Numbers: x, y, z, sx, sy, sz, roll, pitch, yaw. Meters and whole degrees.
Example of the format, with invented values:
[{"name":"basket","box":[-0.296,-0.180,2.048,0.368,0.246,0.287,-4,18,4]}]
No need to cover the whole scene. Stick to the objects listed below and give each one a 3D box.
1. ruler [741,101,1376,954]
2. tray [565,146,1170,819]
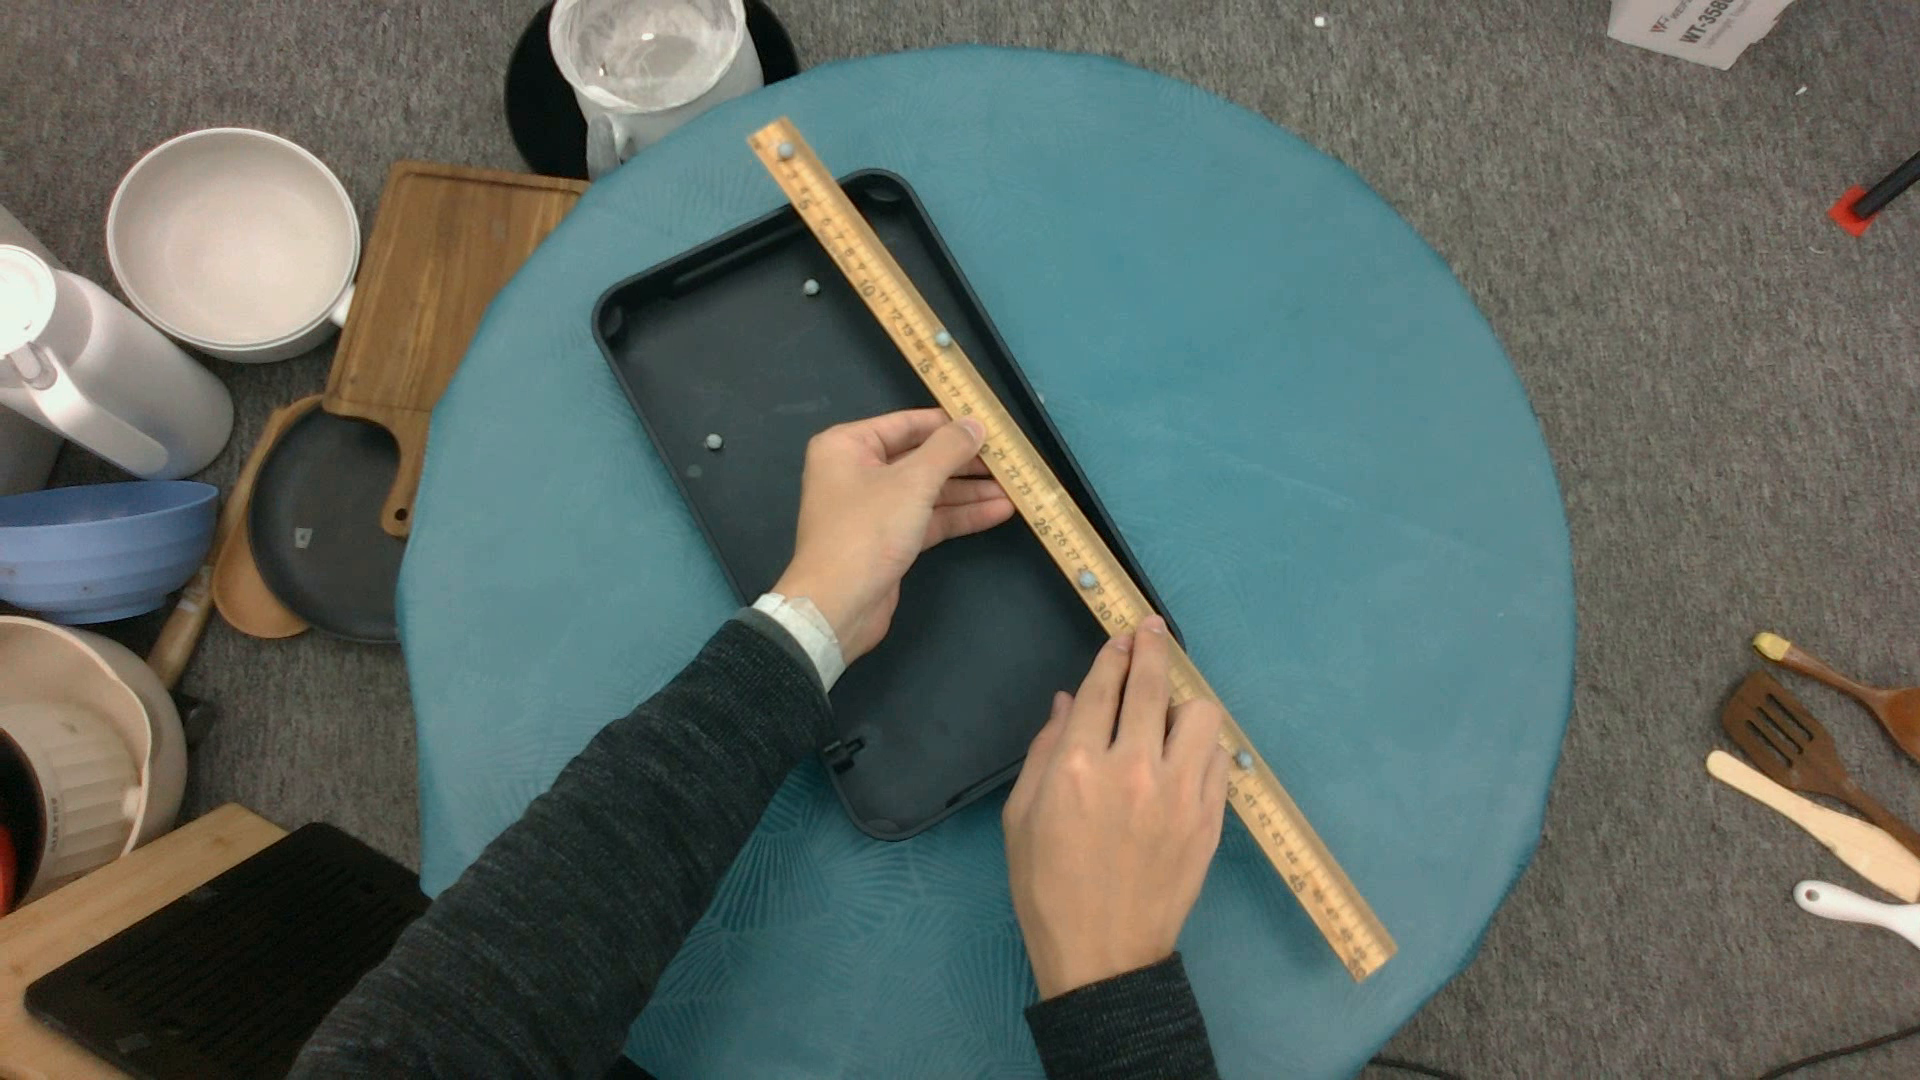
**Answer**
[{"name":"ruler","box":[0.038,-0.018,0.668,0.027,0.006,0.501,-34,81,-9]},{"name":"tray","box":[-0.049,-0.035,0.698,0.184,0.037,0.318,-30,79,-10]}]
